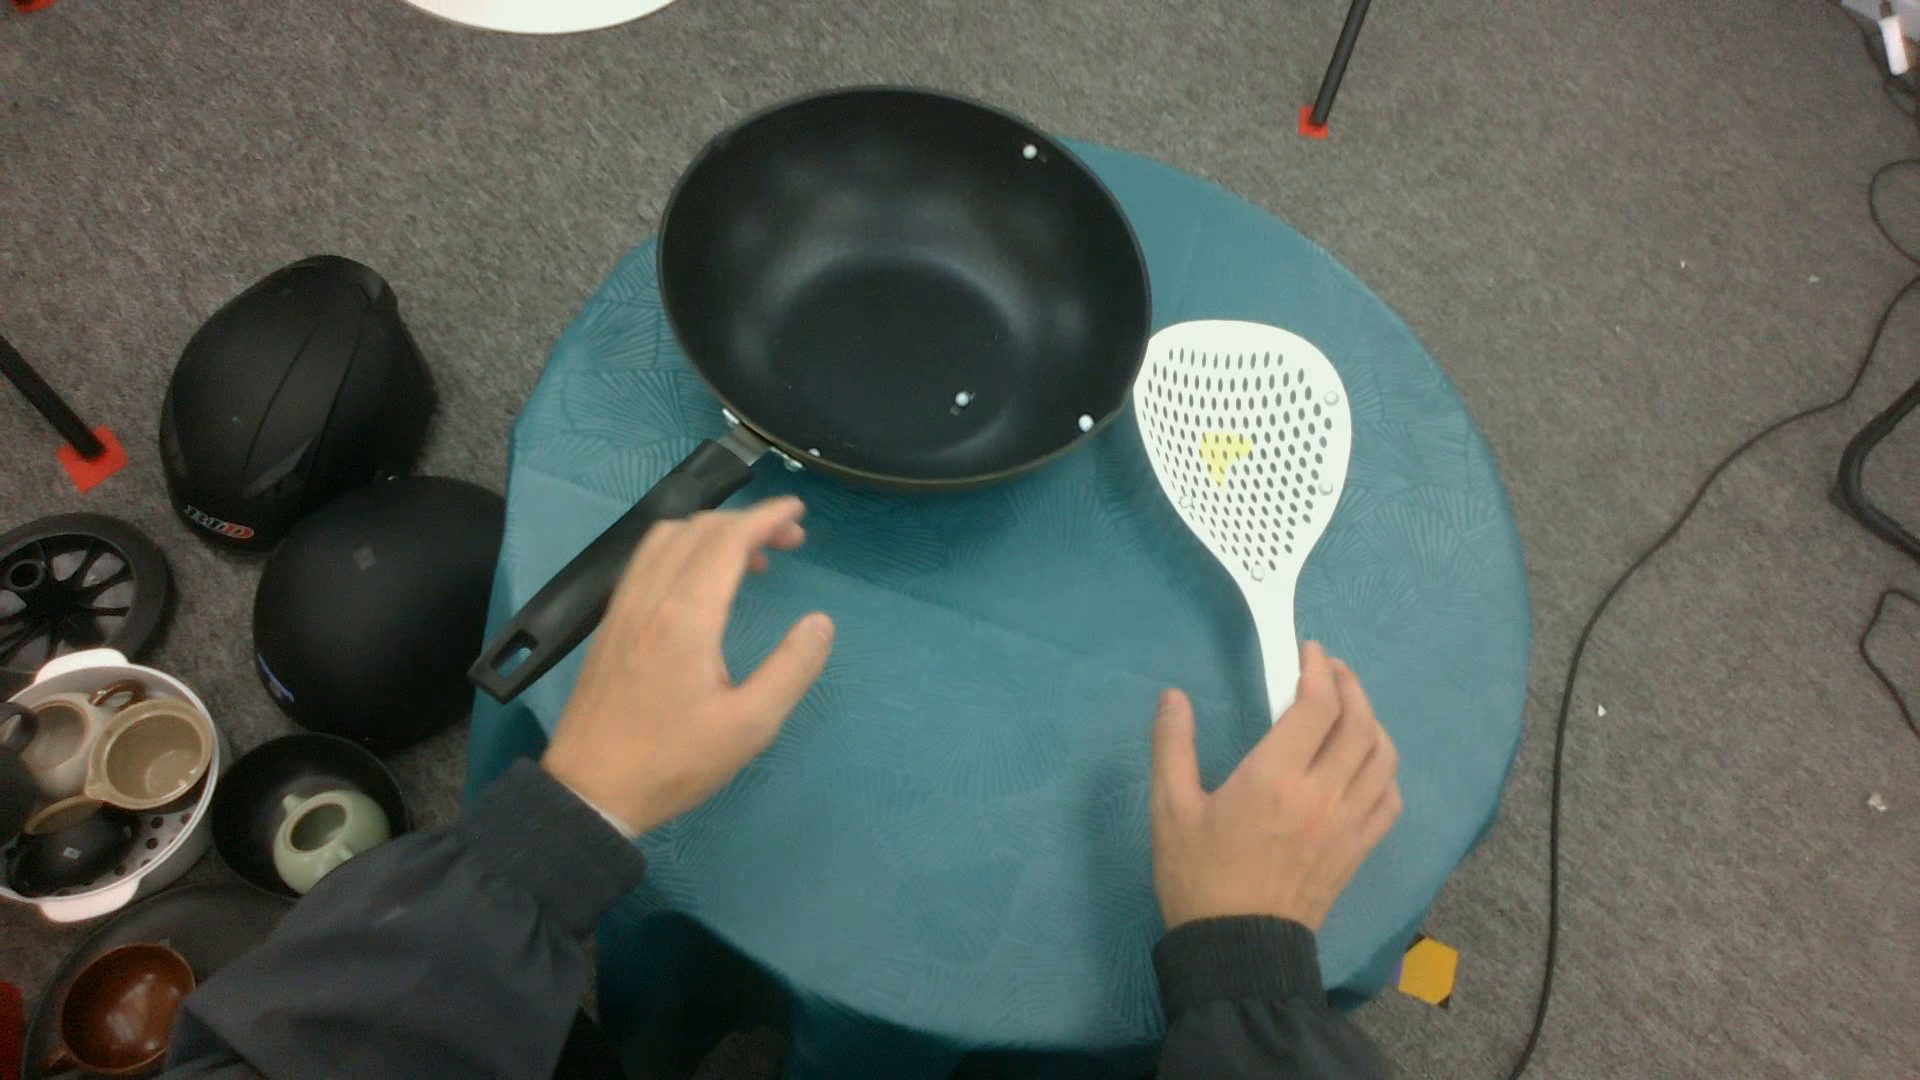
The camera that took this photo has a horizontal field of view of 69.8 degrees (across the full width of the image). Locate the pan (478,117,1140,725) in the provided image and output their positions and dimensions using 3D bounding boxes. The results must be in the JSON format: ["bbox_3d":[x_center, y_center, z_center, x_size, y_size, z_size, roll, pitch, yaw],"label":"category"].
[{"bbox_3d":[-0.089,-0.060,0.784,0.288,0.086,0.465,32,62,11],"label":"pan"}]

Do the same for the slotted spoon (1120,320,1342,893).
[{"bbox_3d":[0.173,0.025,0.794,0.137,0.050,0.349,-1,60,-10],"label":"slotted spoon"}]
